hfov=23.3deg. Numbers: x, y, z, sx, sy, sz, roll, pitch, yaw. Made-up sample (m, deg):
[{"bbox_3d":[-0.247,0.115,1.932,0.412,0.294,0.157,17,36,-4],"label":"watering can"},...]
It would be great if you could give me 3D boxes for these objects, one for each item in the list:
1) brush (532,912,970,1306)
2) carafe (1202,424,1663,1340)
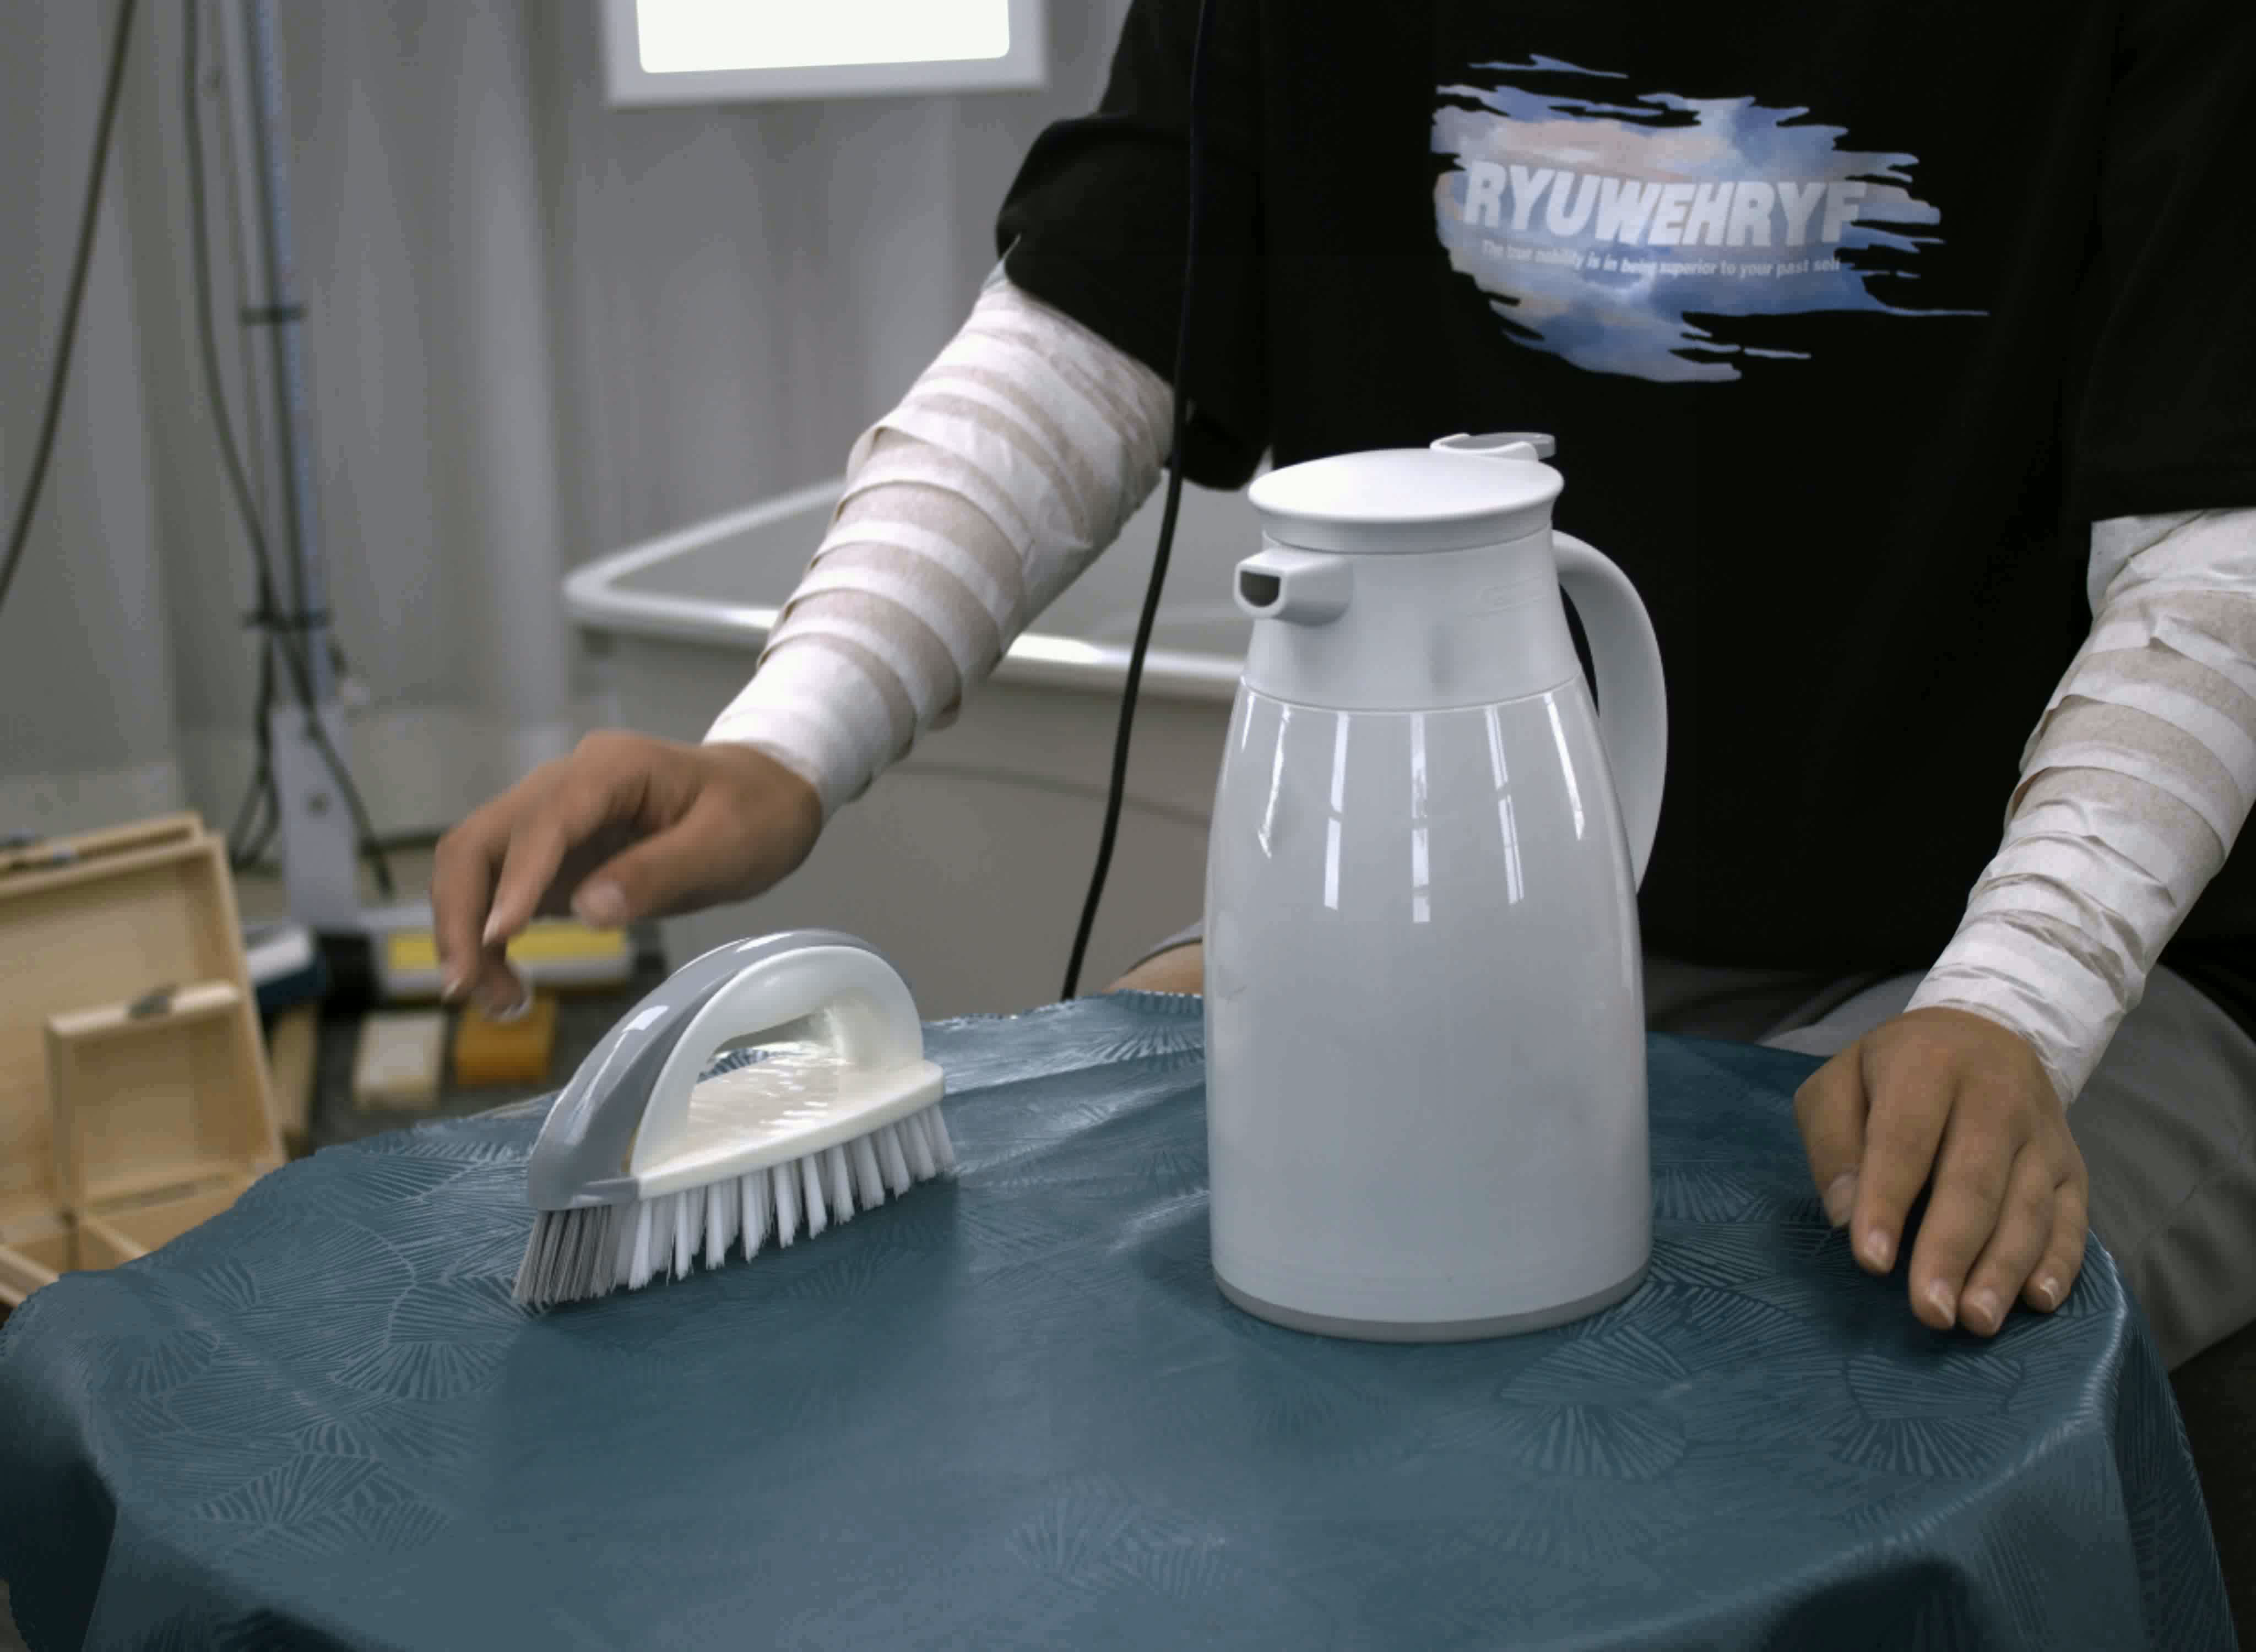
[{"bbox_3d":[-0.124,0.082,1.679,0.061,0.094,0.175,5,18,39],"label":"brush"},{"bbox_3d":[0.097,0.008,1.616,0.133,0.248,0.167,10,18,43],"label":"carafe"}]
